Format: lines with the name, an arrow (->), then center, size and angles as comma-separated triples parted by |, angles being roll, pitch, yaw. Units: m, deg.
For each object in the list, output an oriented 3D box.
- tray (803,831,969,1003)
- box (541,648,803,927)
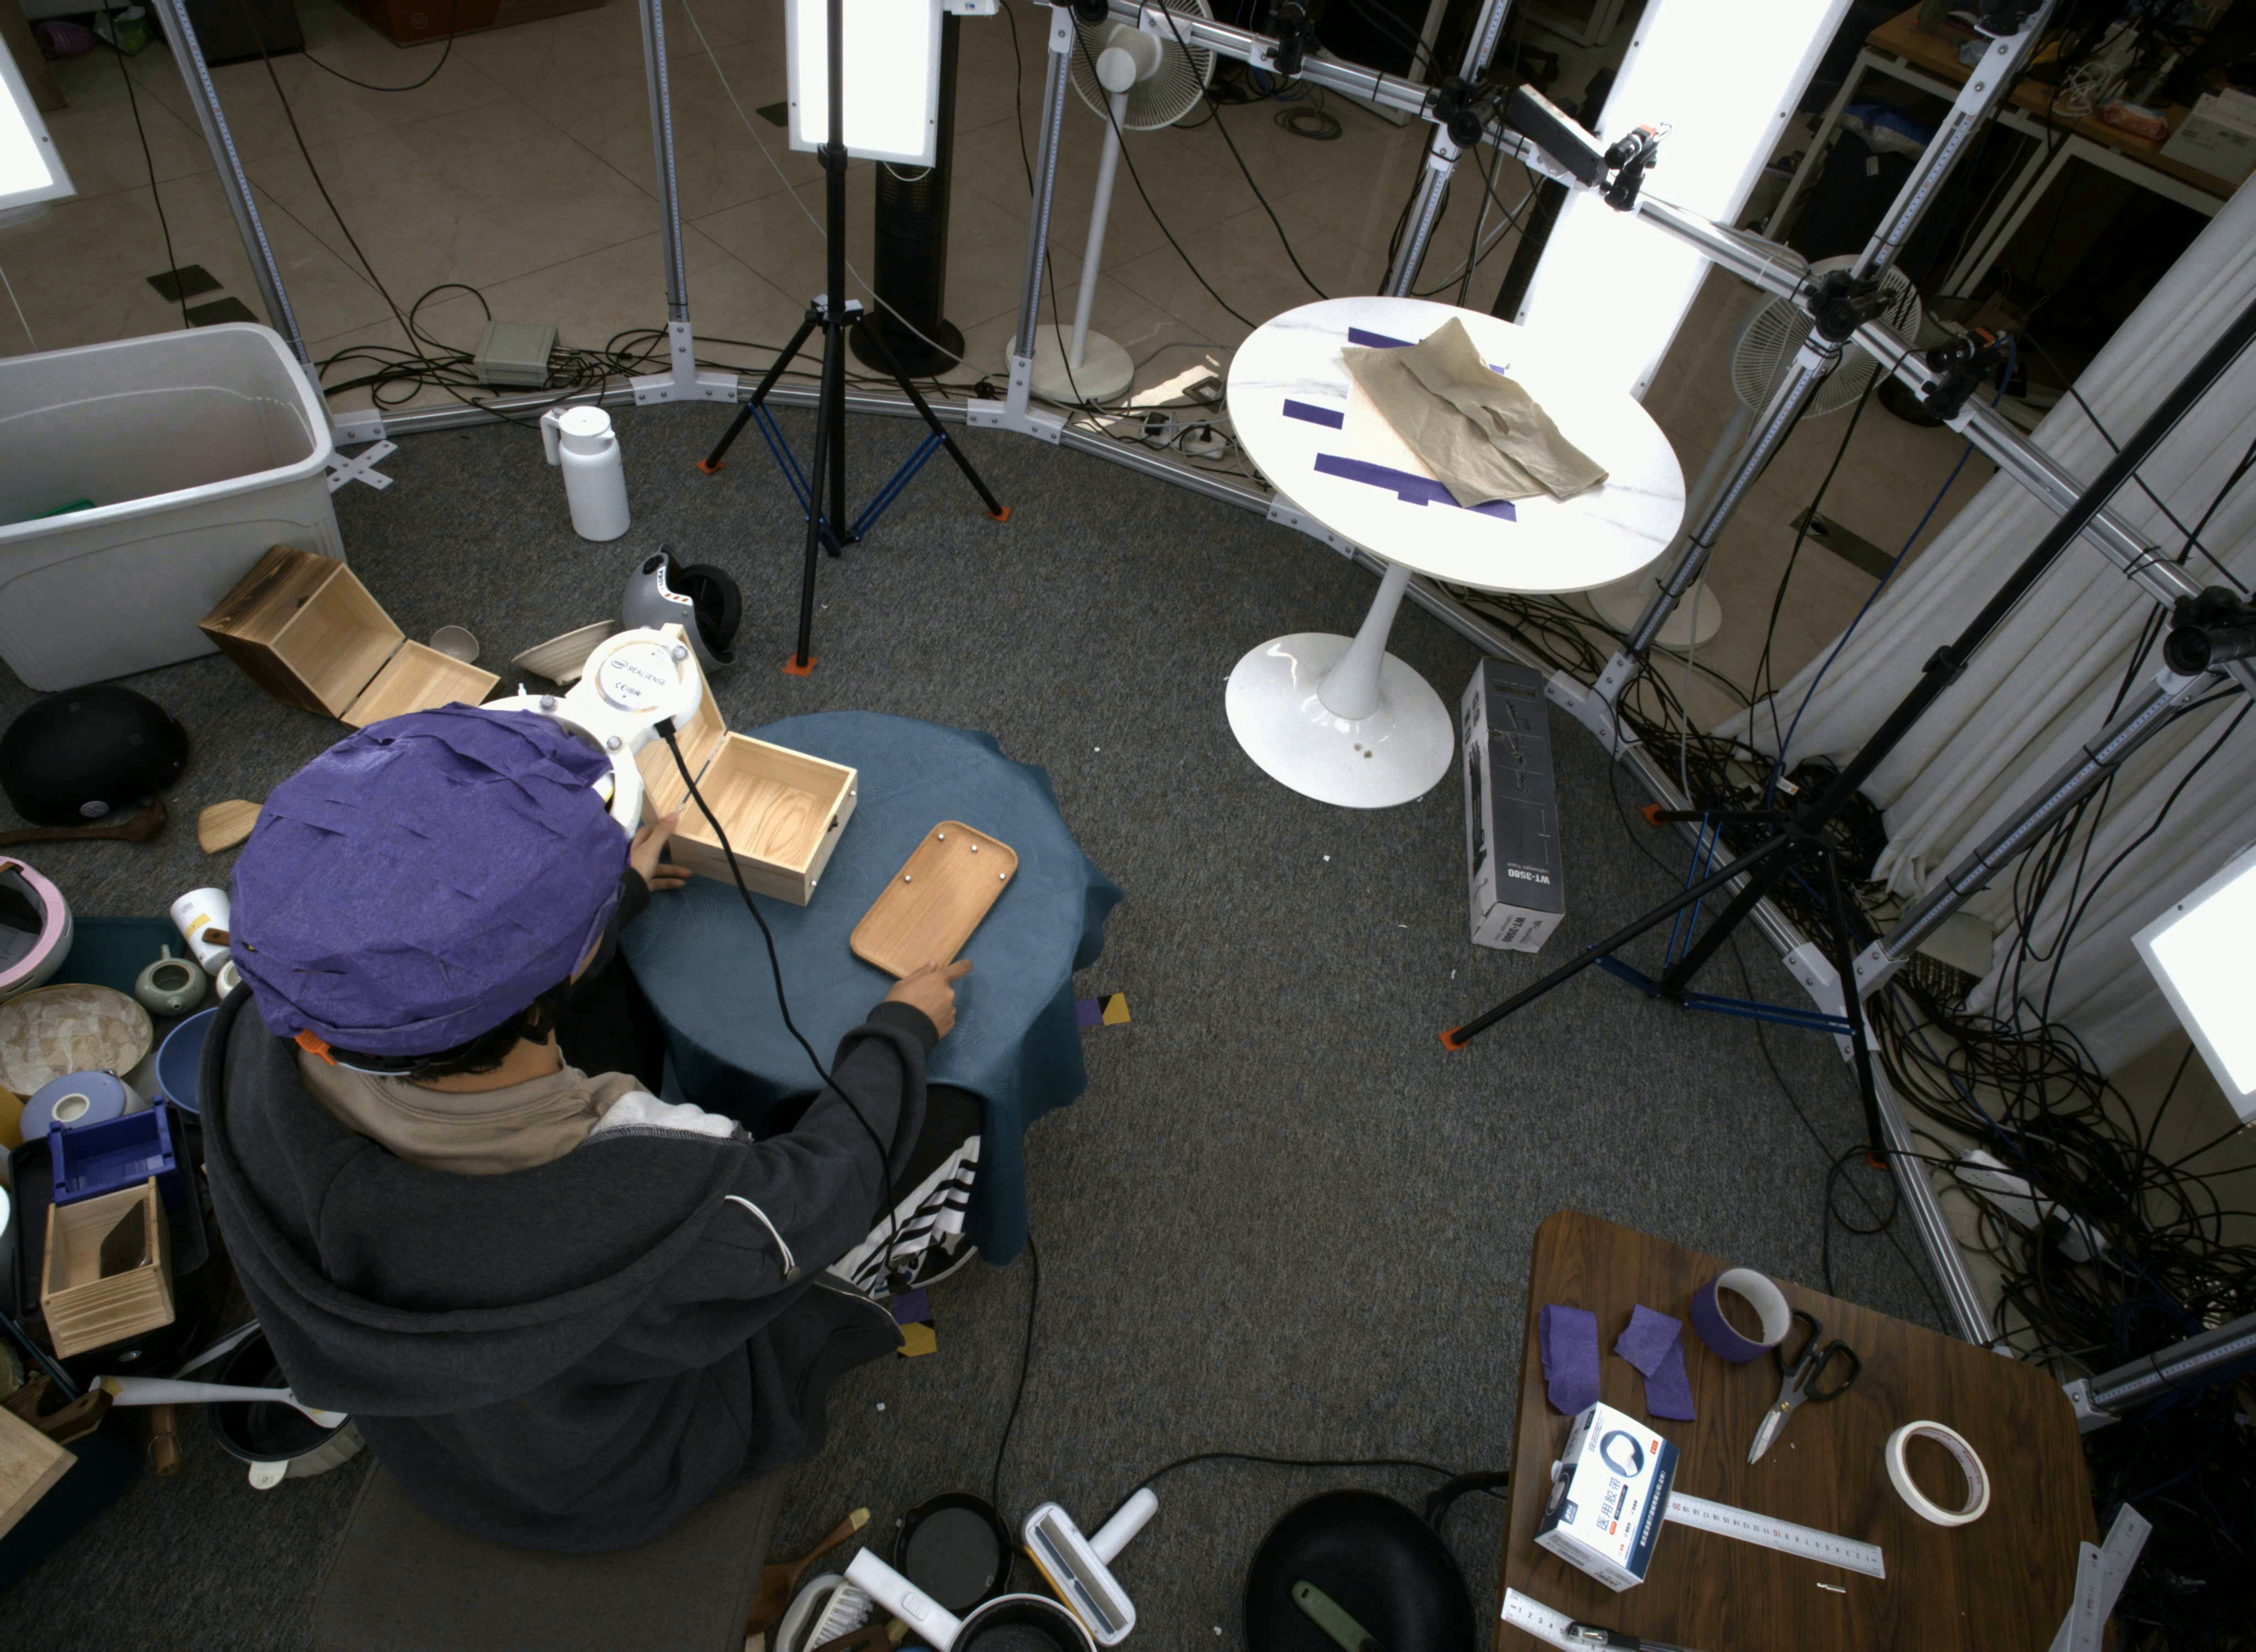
tray -> -0.306, 0.111, 1.665 | 0.128, 0.023, 0.249 | 23, 52, 7
box -> -0.553, -0.046, 1.572 | 0.263, 0.258, 0.179 | 12, 54, -2
